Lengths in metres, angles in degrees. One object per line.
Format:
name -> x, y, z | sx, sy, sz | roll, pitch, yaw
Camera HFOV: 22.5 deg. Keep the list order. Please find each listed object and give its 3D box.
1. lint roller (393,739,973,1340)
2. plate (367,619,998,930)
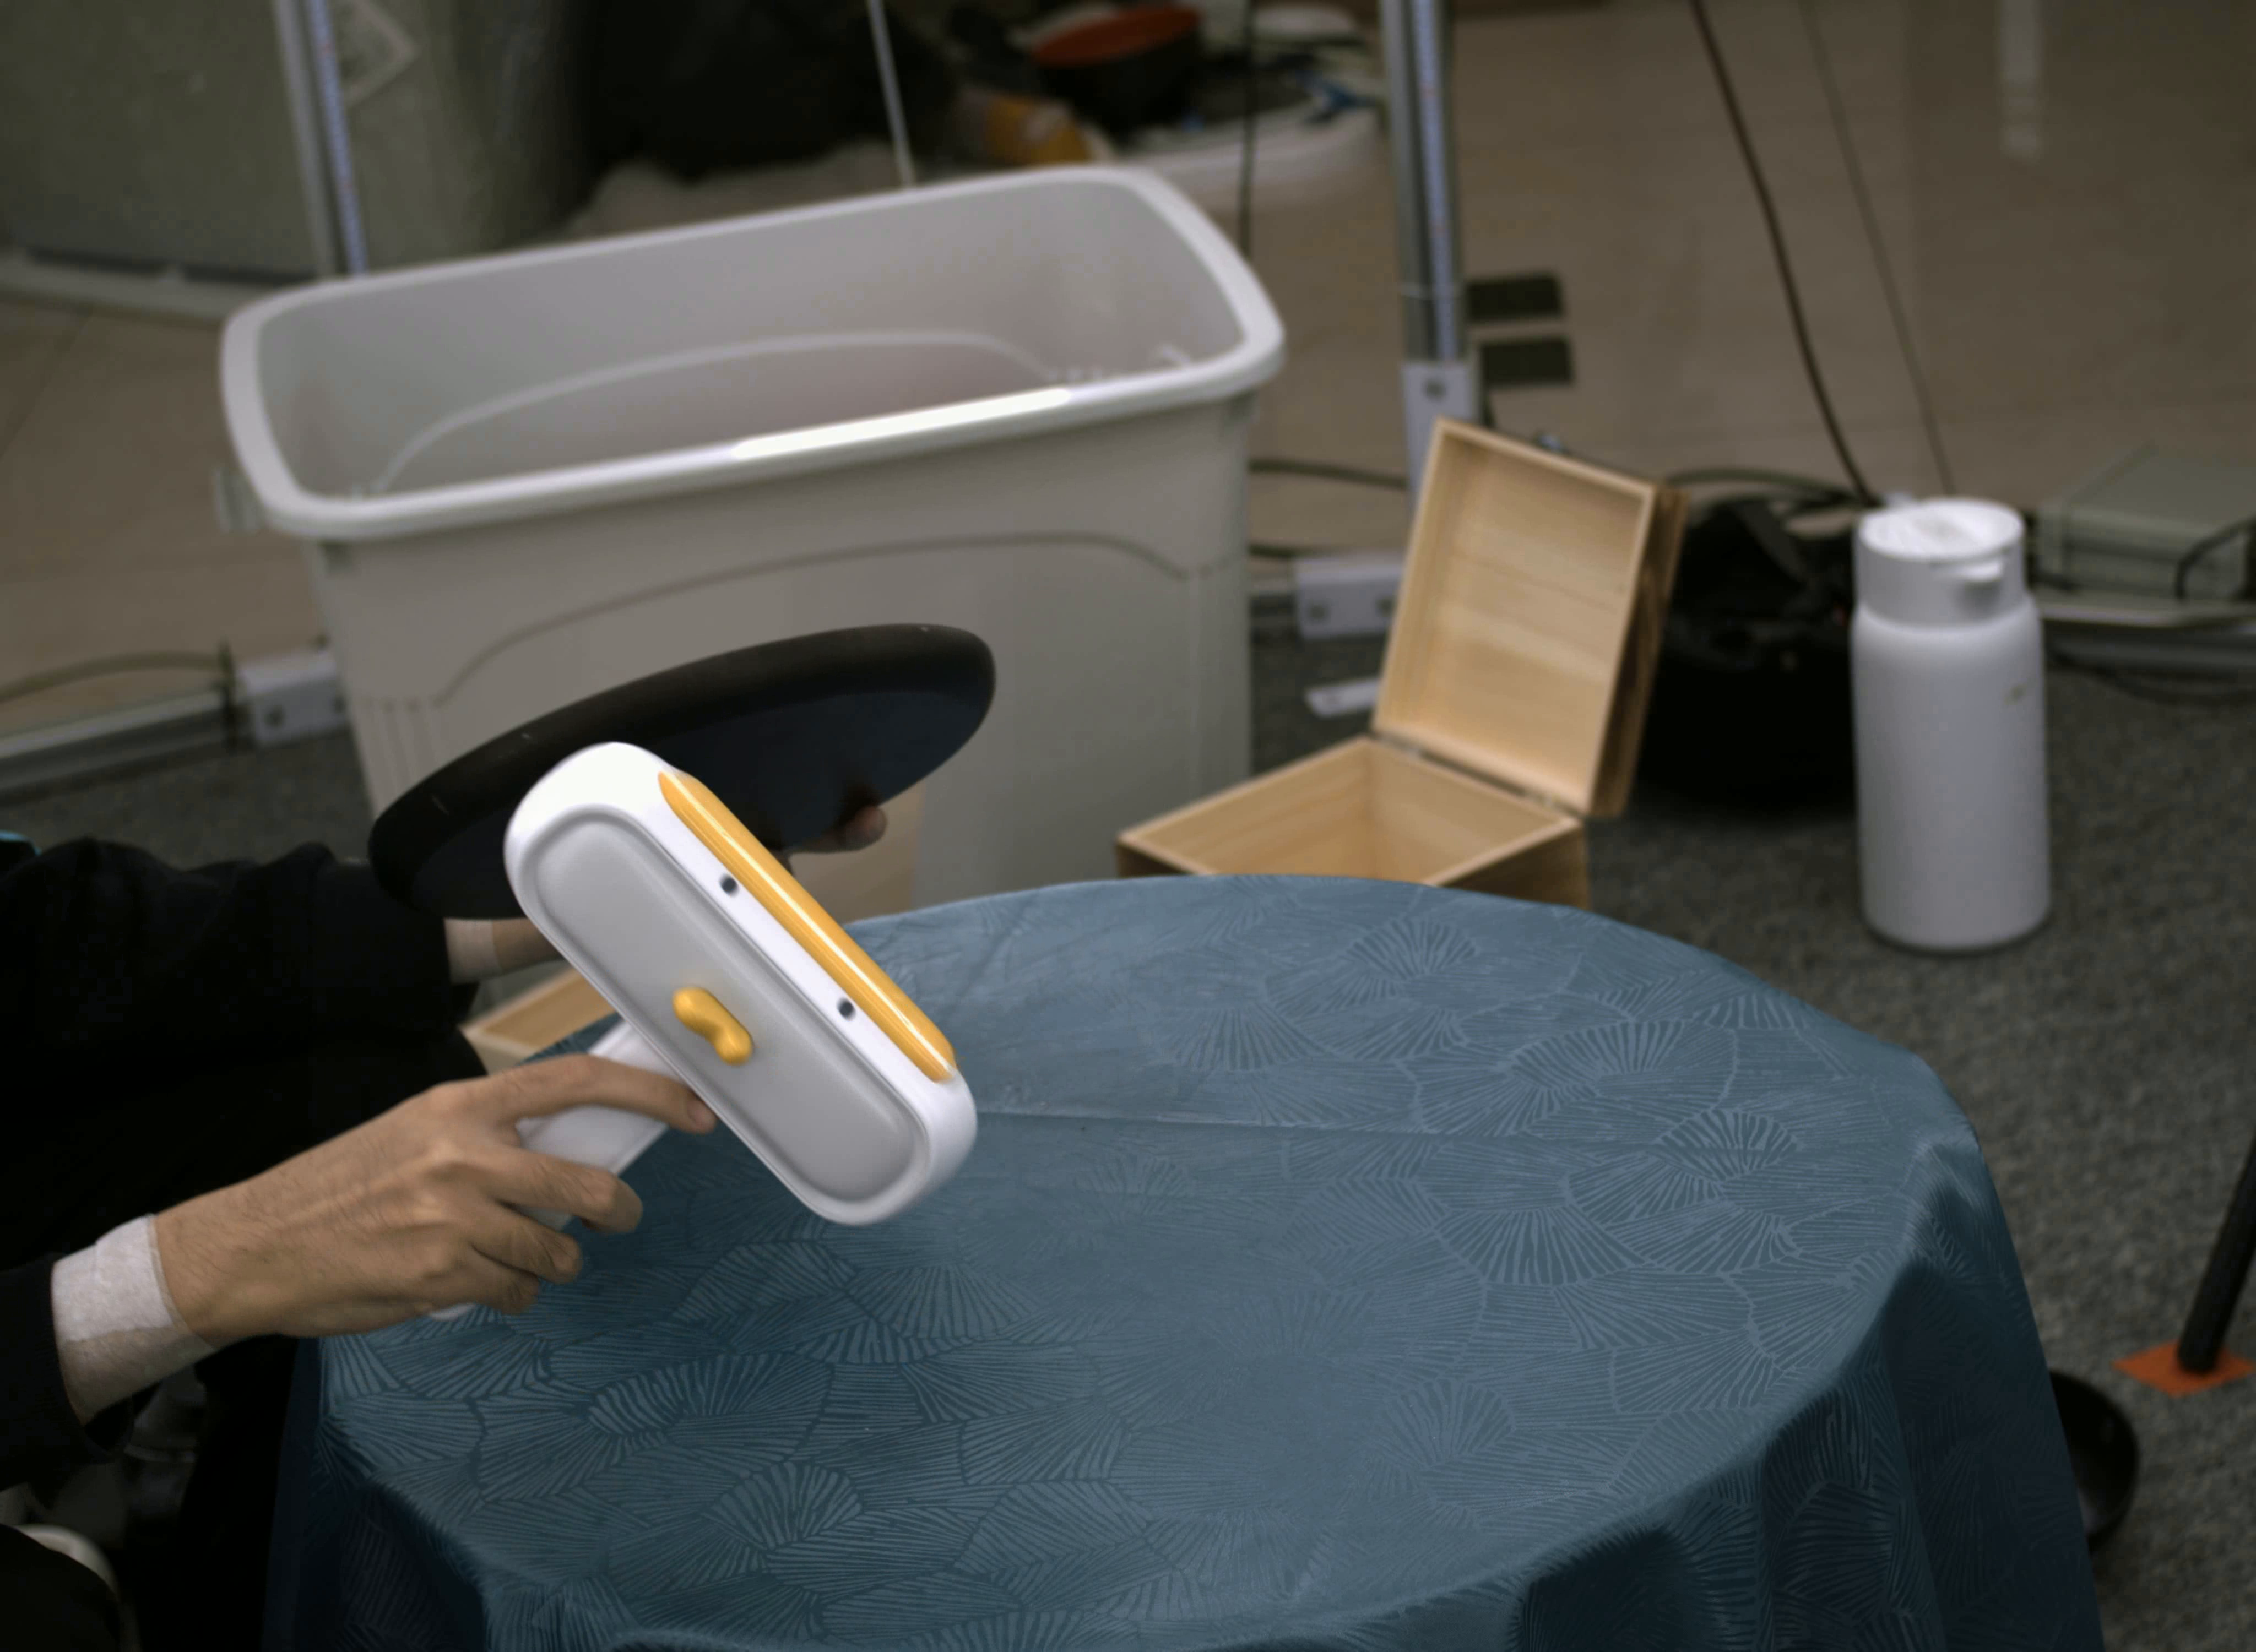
lint roller -> -0.174, 0.094, 1.912 | 0.193, 0.194, 0.073 | -44, 16, 15
plate -> -0.167, -0.017, 2.154 | 0.254, 0.029, 0.257 | -20, -13, -4
